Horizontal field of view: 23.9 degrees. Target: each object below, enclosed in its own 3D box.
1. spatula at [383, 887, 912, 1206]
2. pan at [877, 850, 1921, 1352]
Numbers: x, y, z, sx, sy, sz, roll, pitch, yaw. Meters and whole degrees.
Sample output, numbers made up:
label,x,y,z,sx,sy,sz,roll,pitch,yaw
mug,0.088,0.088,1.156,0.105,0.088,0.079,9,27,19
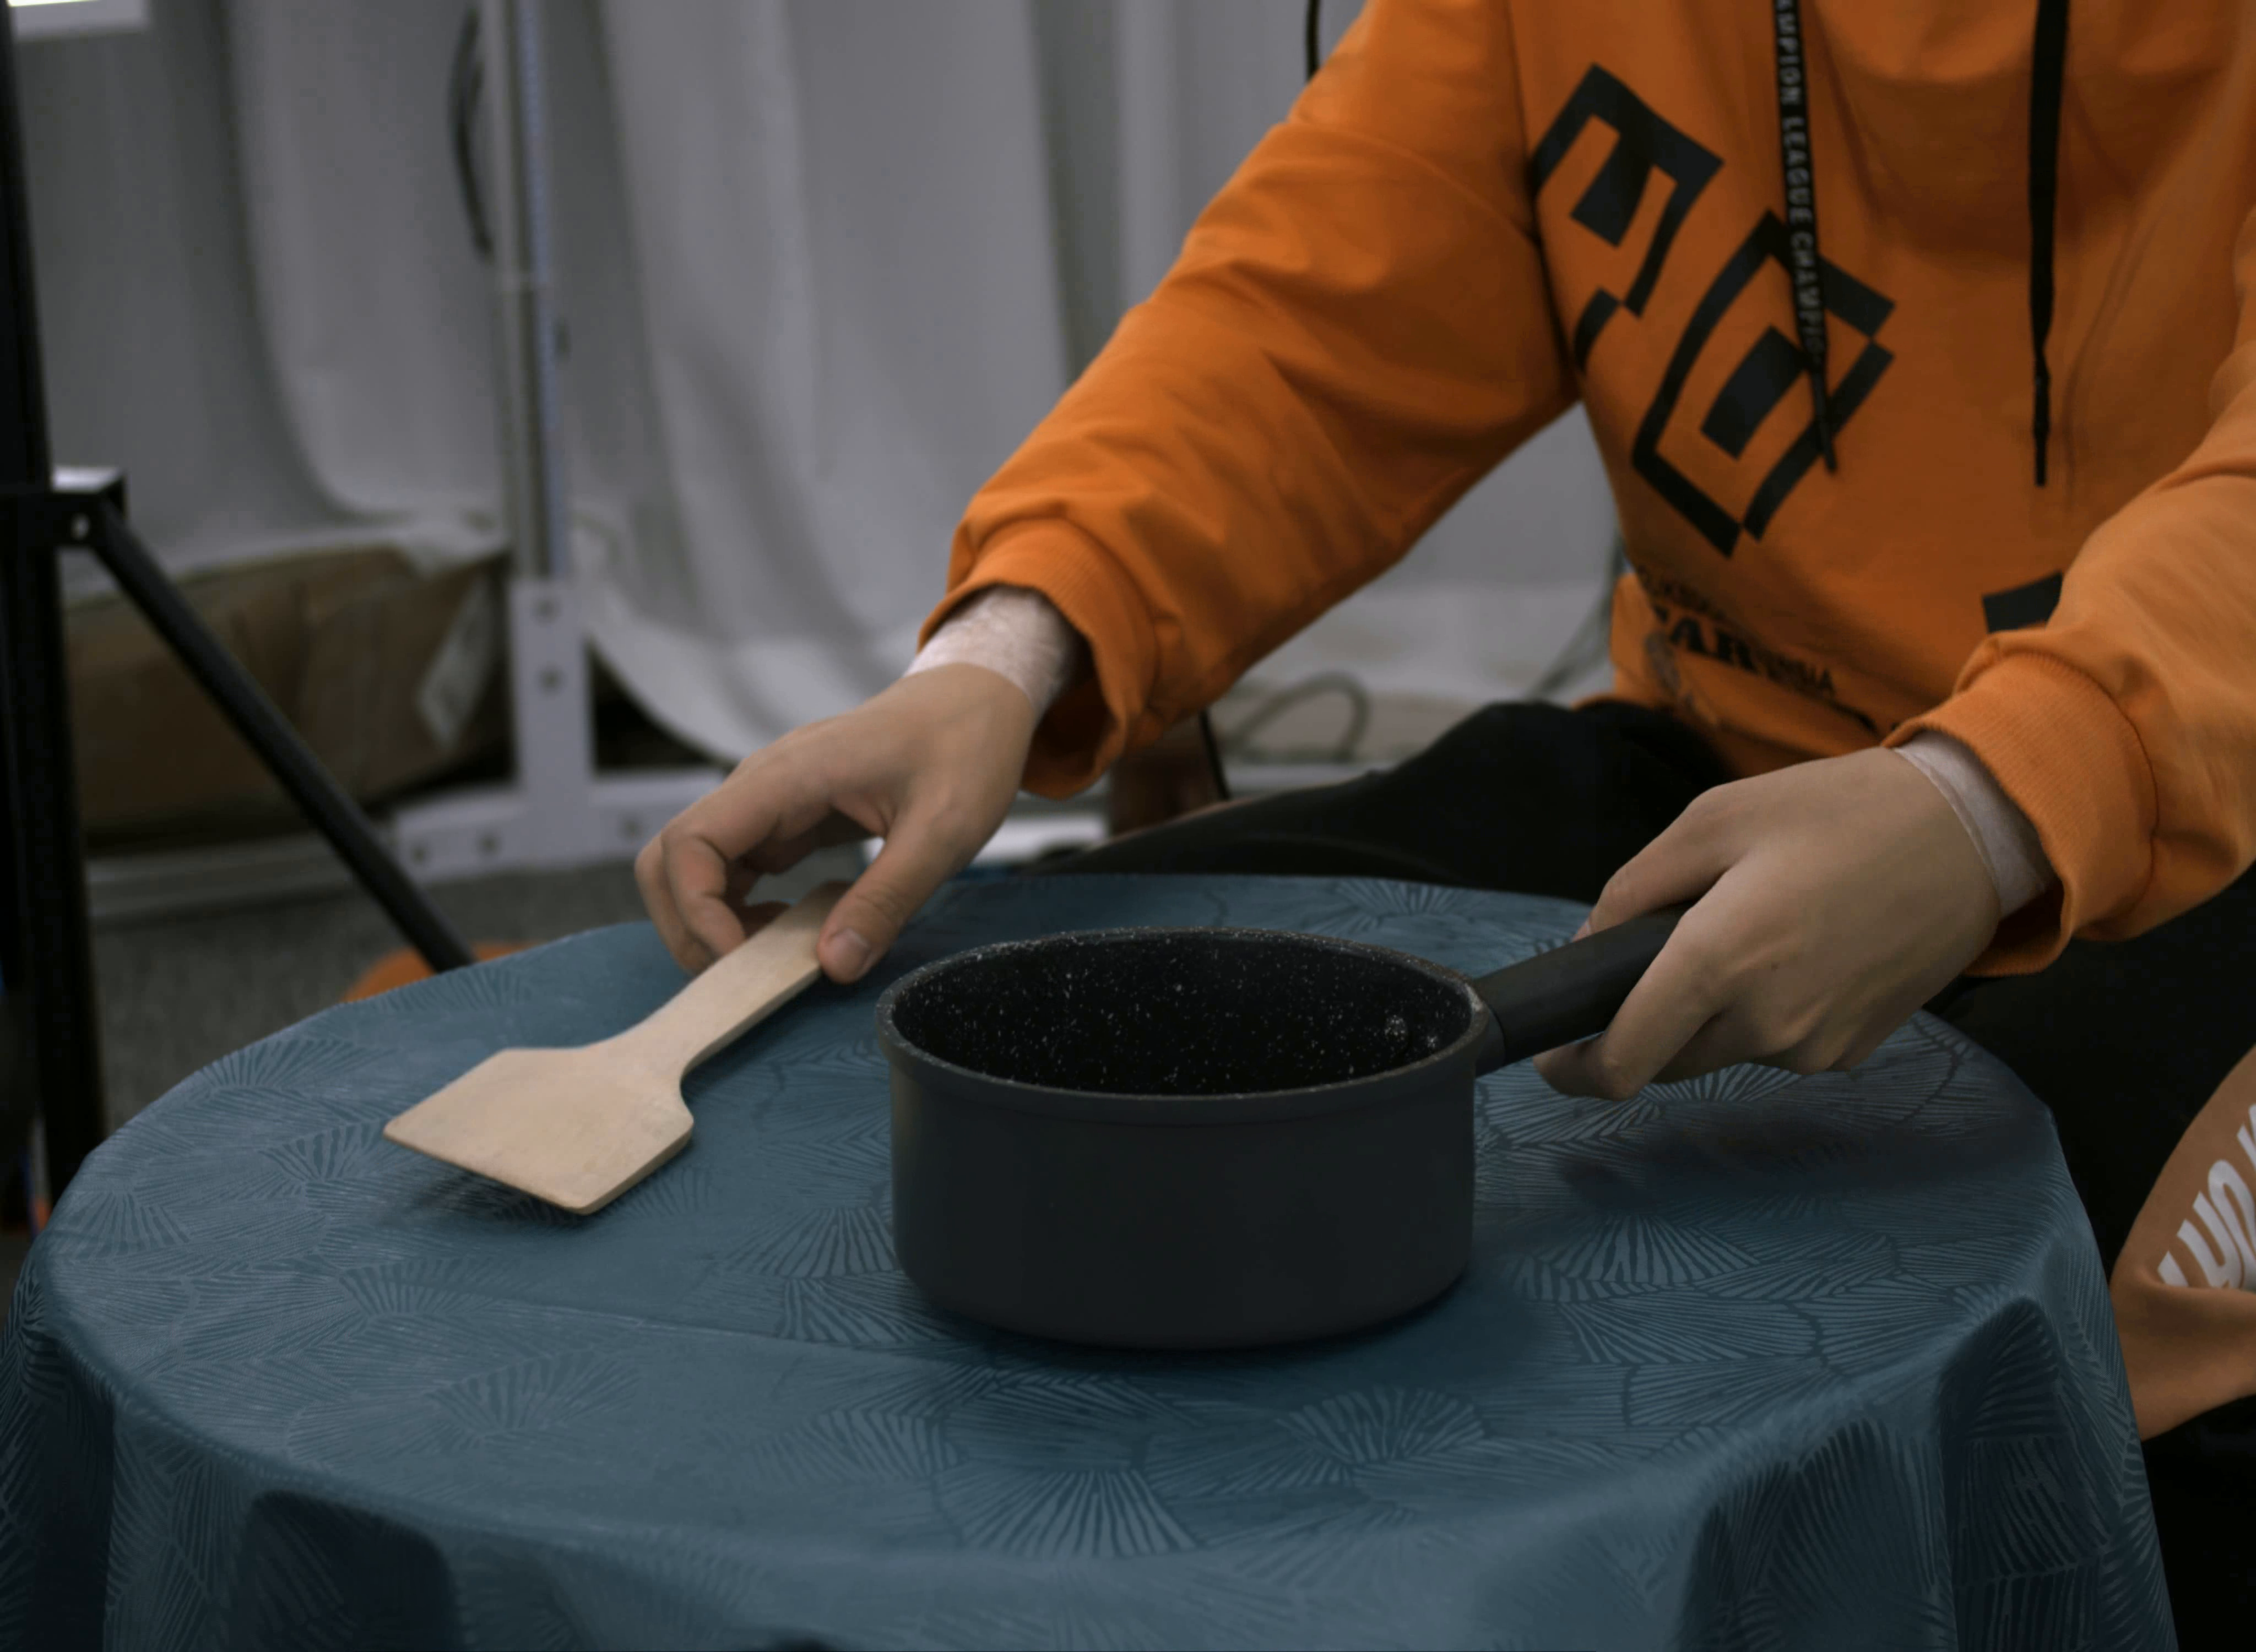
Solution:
label,x,y,z,sx,sy,sz,roll,pitch,yaw
spatula,-0.138,0.064,1.690,0.073,0.010,0.289,14,21,19
pan,0.085,0.073,1.514,0.322,0.086,0.175,-9,17,-25
